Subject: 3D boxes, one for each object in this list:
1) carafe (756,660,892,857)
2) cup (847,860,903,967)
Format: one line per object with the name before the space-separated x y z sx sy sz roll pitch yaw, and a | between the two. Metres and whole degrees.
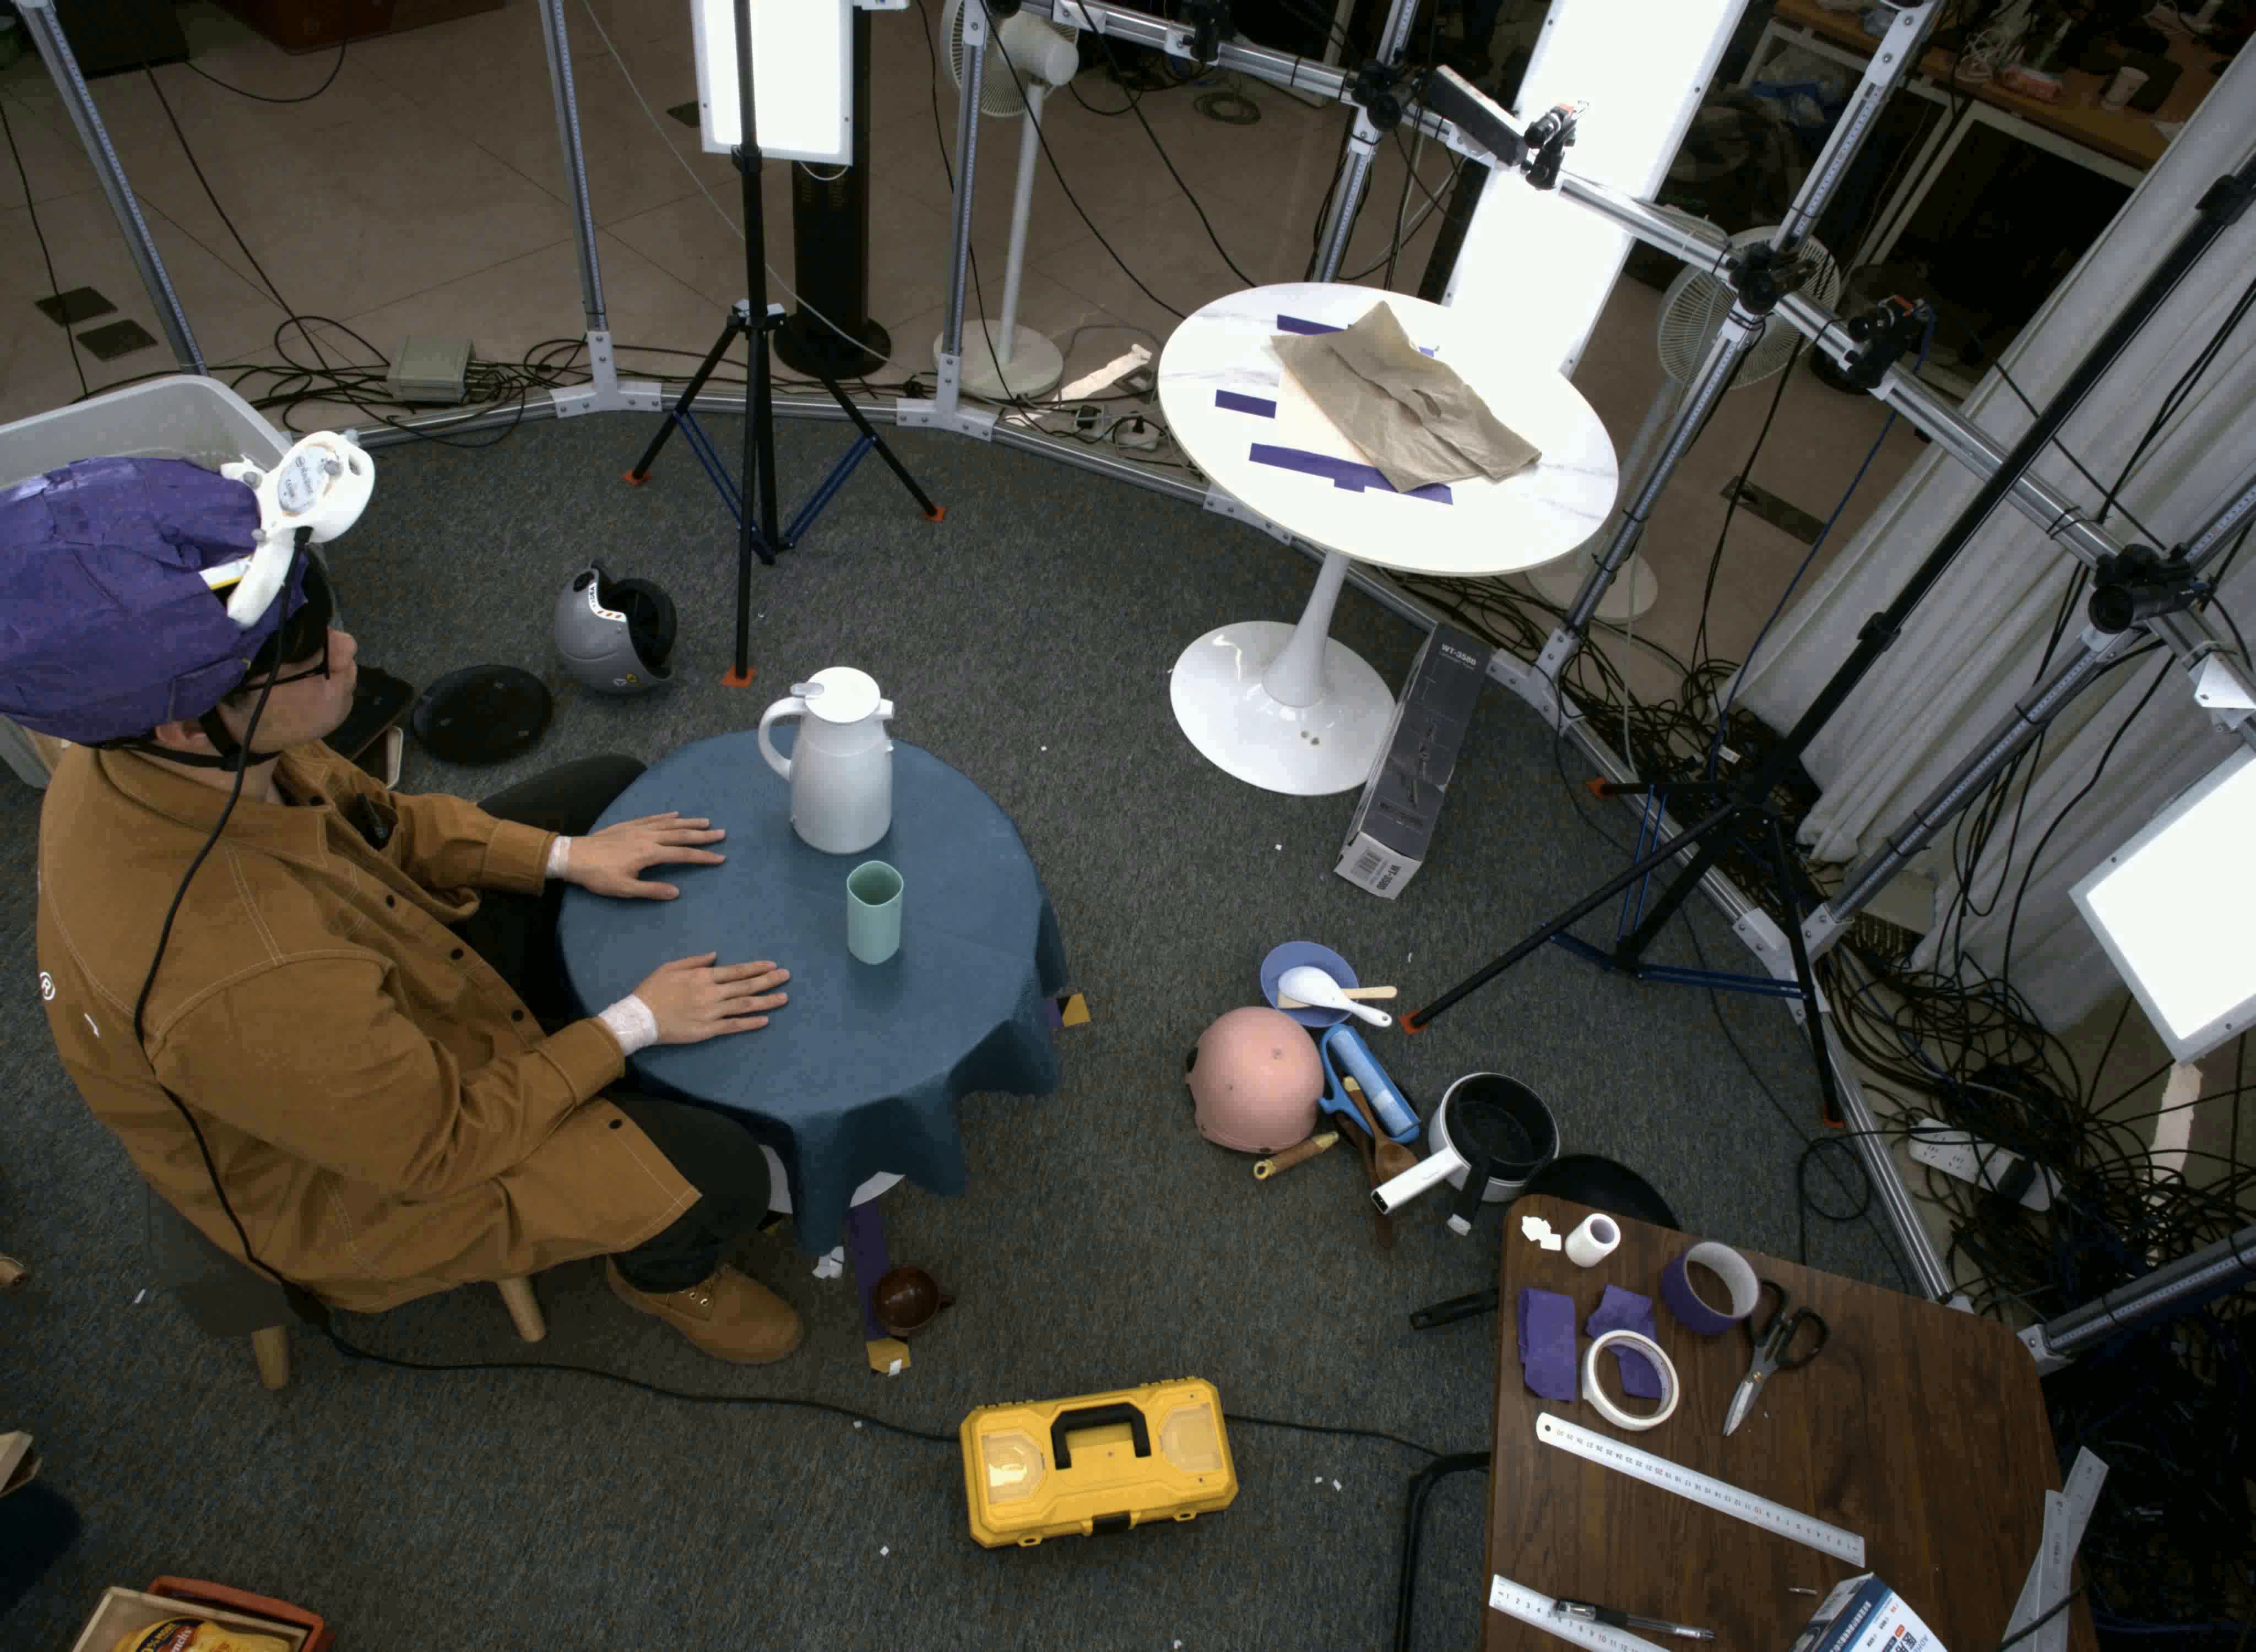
carafe | -0.384 -0.092 1.642 0.167 0.254 0.130 4 50 -8
cup | -0.311 0.107 1.591 0.066 0.135 0.065 6 51 -6
